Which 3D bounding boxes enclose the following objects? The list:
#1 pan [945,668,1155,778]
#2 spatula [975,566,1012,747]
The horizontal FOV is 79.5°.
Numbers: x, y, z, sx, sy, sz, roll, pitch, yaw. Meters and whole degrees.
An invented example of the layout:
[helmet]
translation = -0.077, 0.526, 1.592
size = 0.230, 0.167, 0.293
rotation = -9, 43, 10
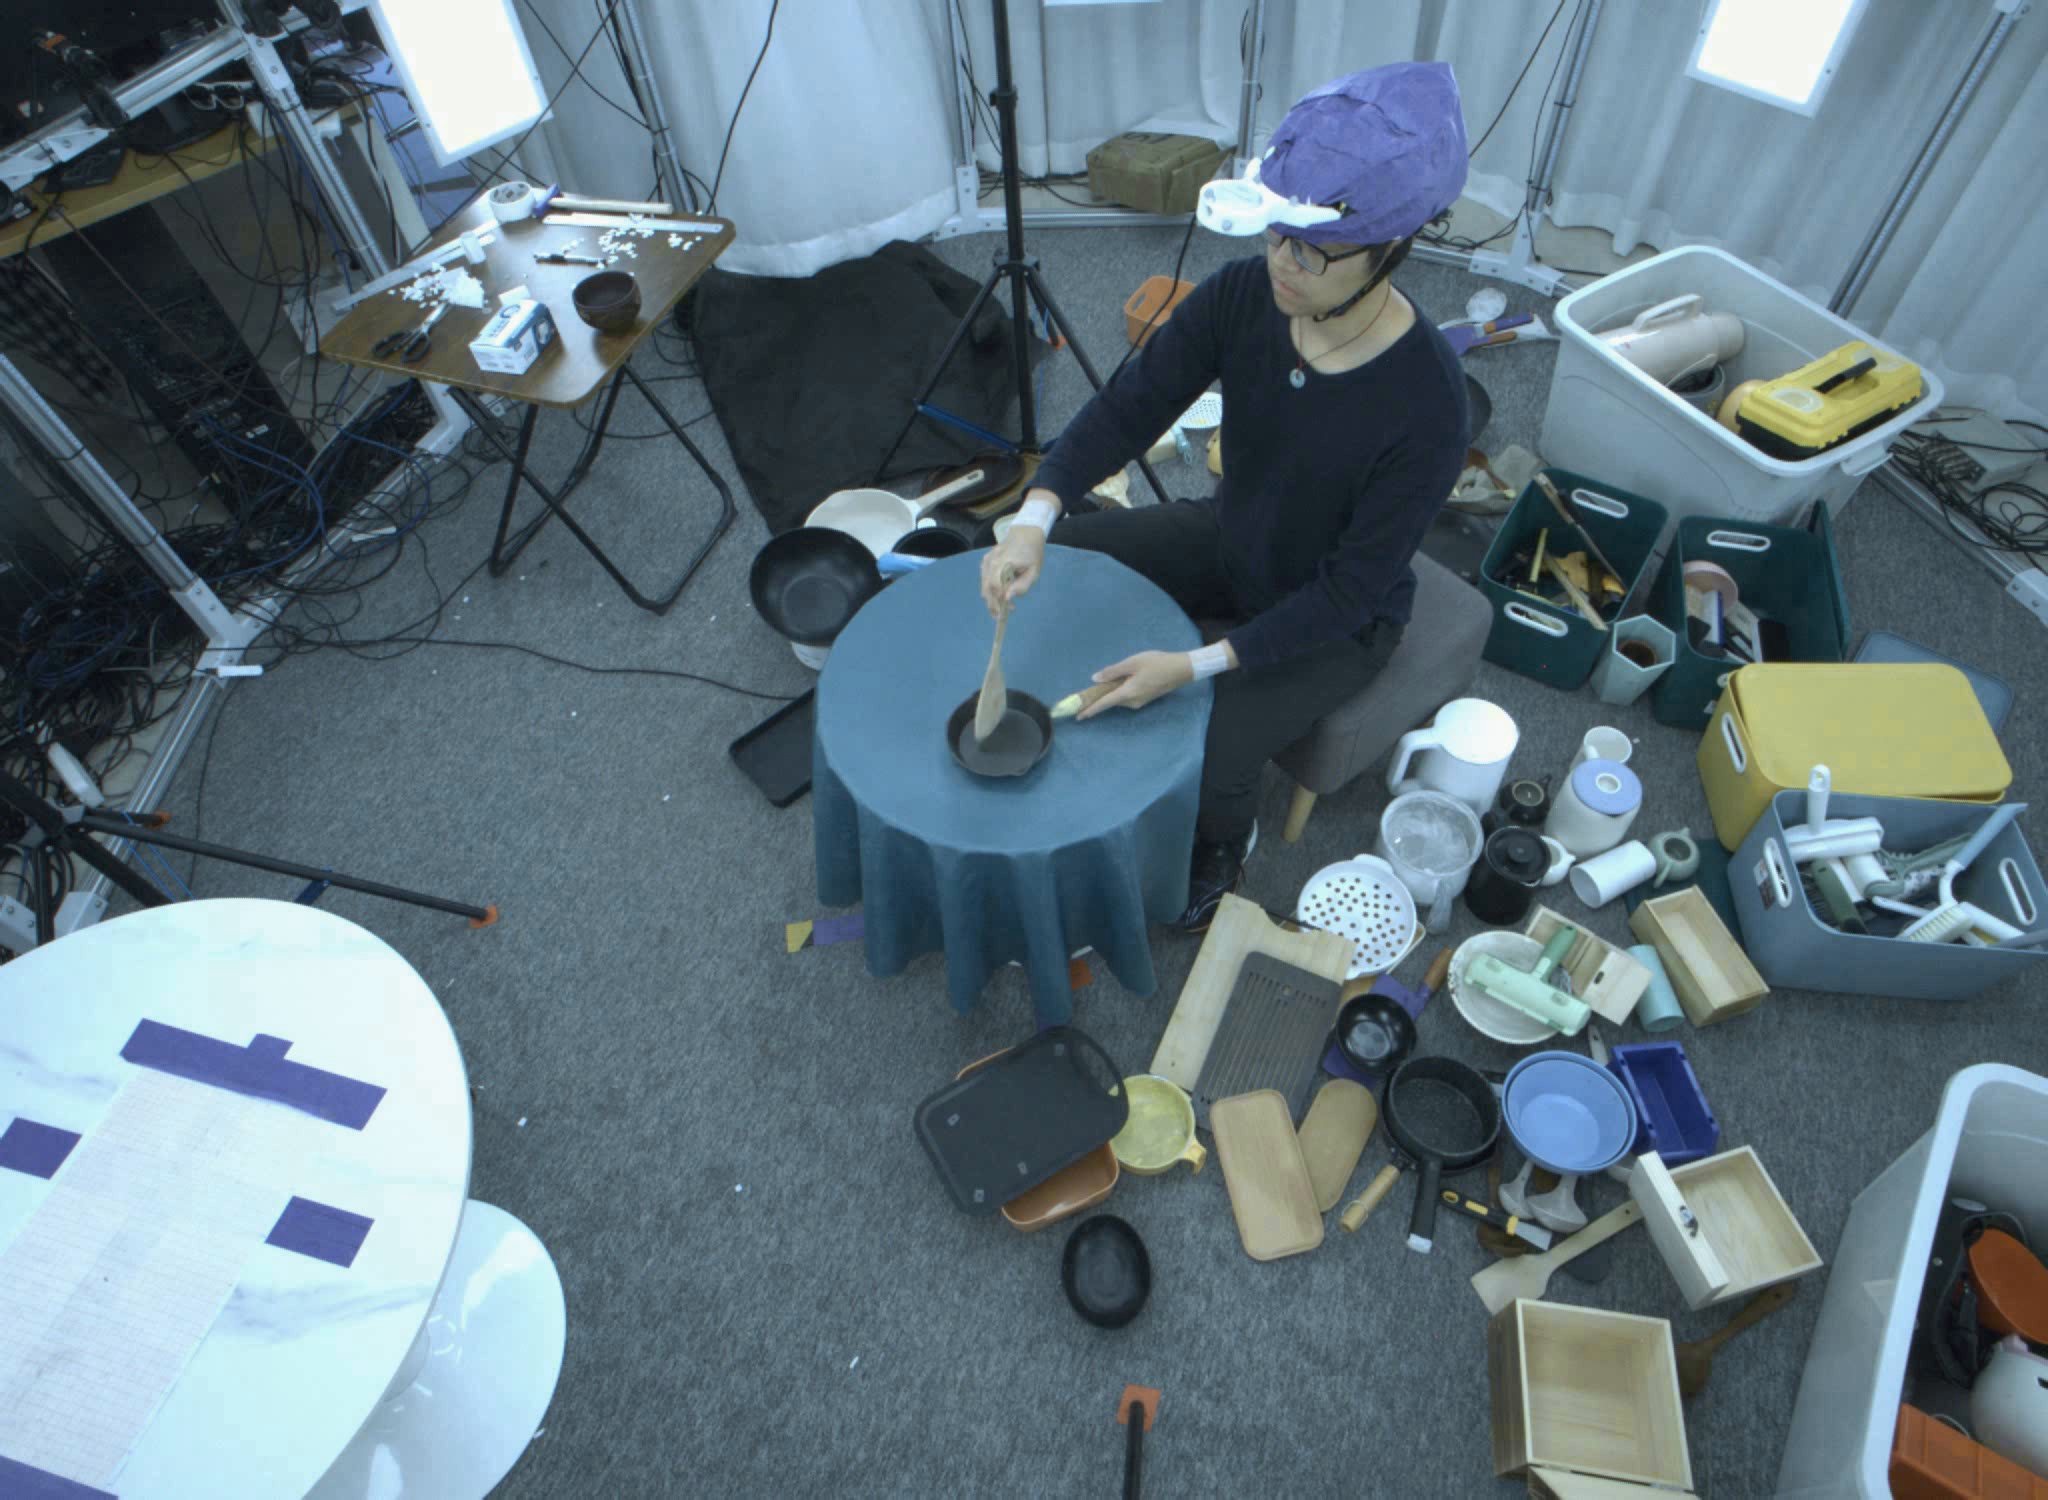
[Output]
[pan]
translation = 0.043, -0.052, 1.791
size = 0.326, 0.050, 0.166
rotation = -20, 57, -10
[spatula]
translation = -0.036, -0.129, 1.682
size = 0.016, 0.329, 0.080
rotation = 29, 54, 14
